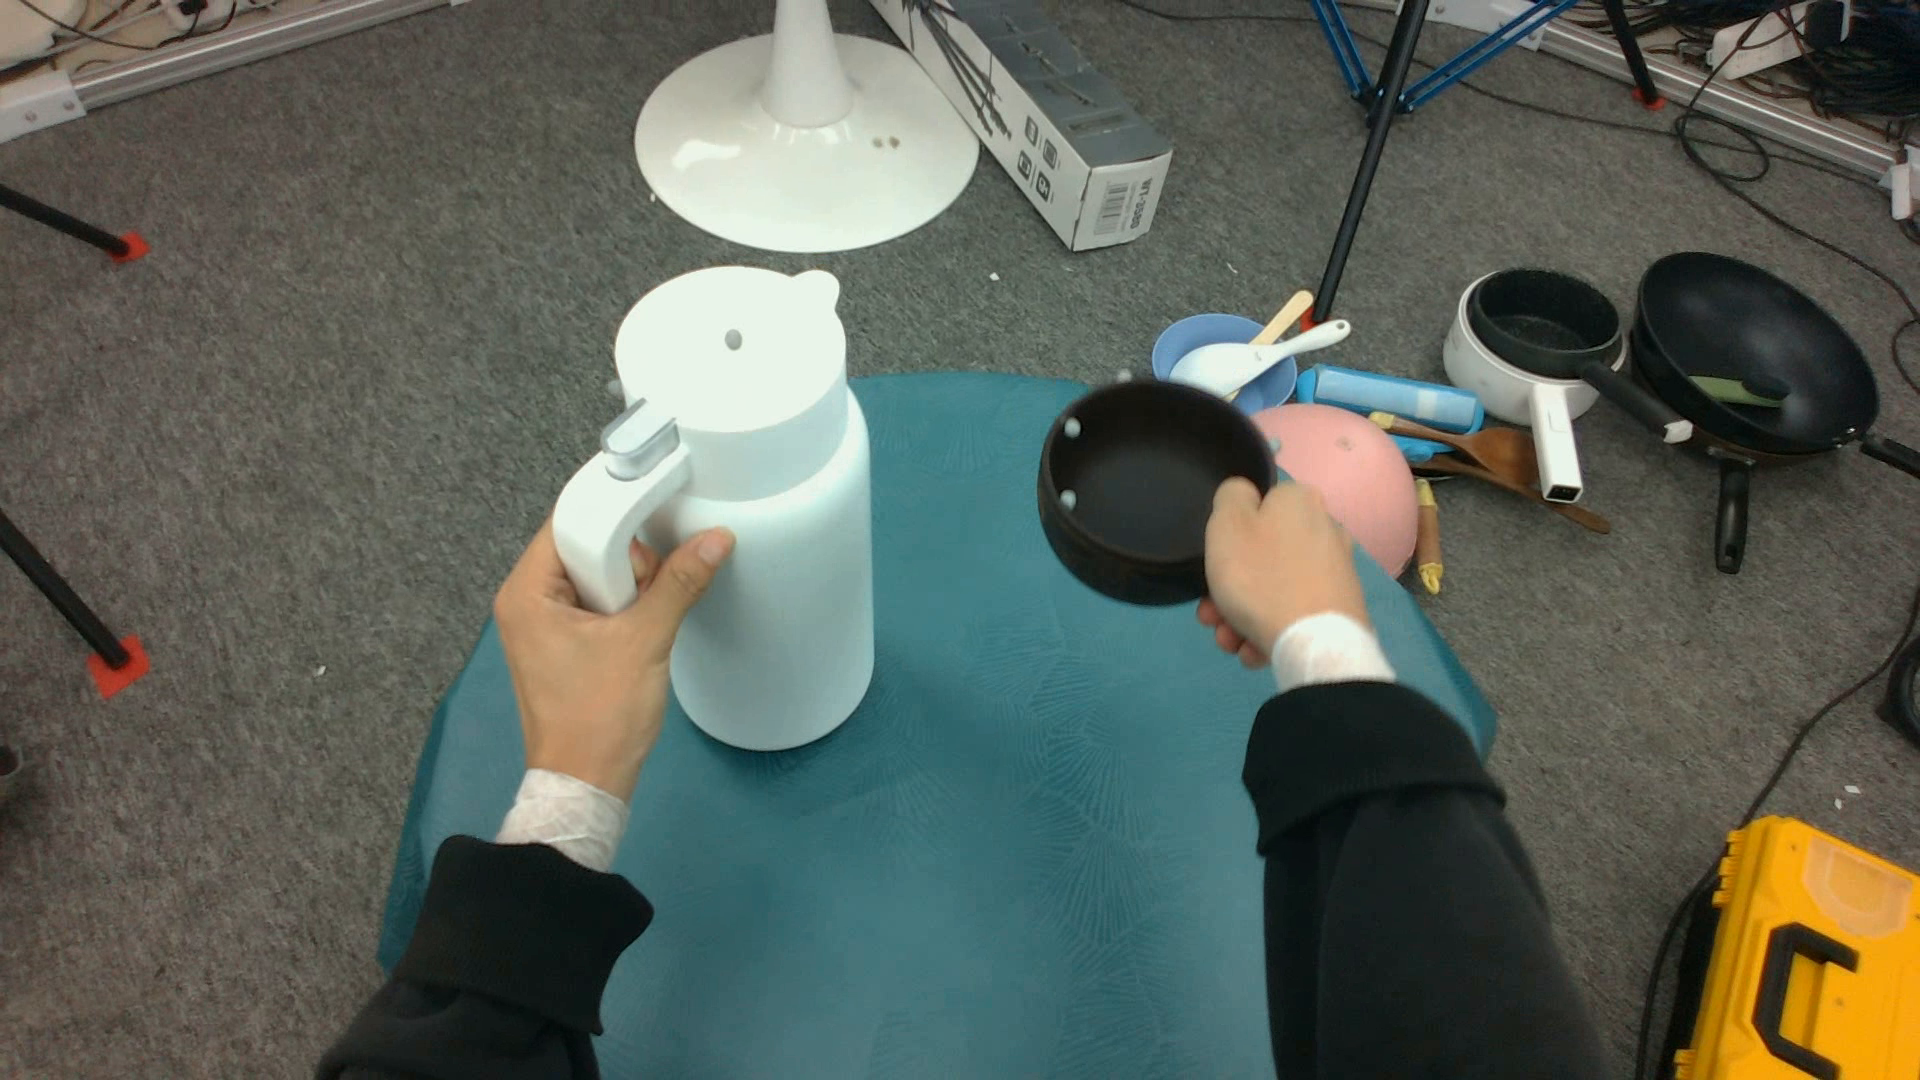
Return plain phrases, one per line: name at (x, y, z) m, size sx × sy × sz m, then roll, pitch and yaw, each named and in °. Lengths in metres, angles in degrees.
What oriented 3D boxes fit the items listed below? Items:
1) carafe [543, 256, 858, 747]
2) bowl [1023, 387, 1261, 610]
carafe at (-0.121, 0.005, 0.692) m, size 0.124 × 0.267 × 0.173 m, roll 29°, pitch 56°, yaw 15°
bowl at (0.090, -0.014, 0.708) m, size 0.118 × 0.069 × 0.118 m, roll 1°, pitch 54°, yaw -1°
